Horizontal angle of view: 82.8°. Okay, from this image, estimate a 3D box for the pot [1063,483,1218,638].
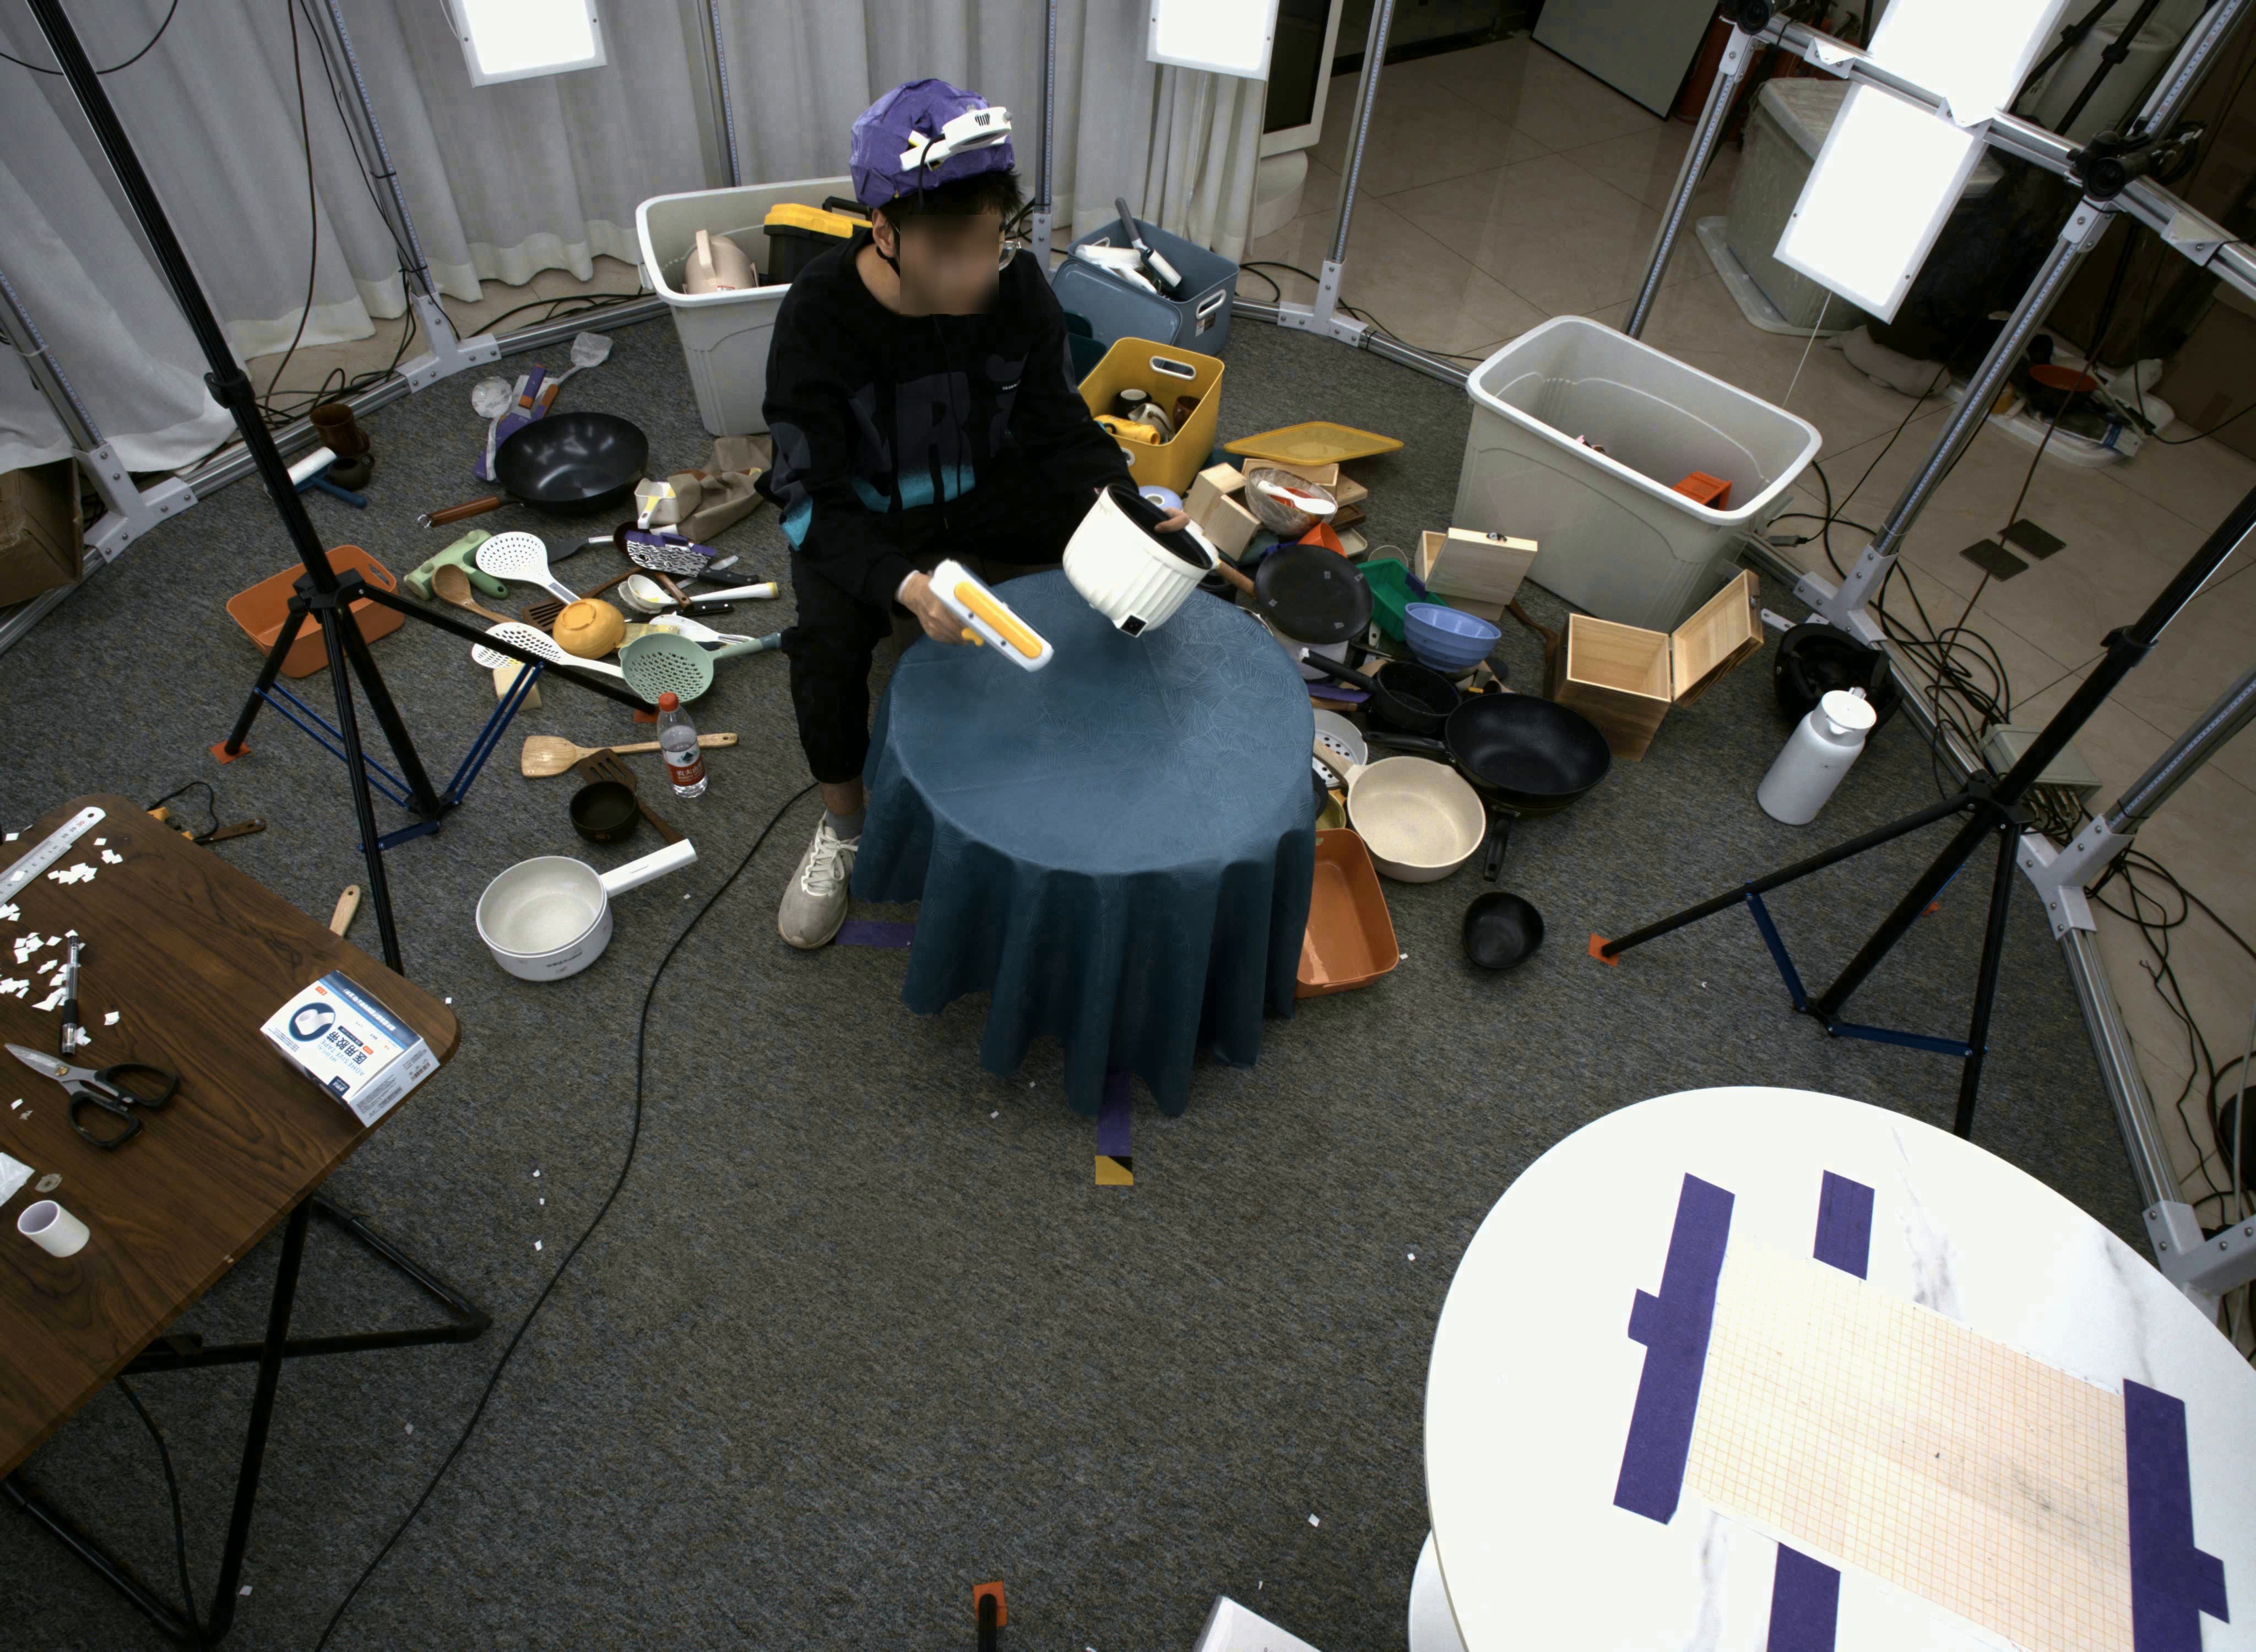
[{"bbox_3d":[0.003,-0.370,1.792,0.237,0.141,0.195,20,31,-41],"label":"pot"}]

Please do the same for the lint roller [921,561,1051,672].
[{"bbox_3d":[-0.208,-0.281,1.745,0.190,0.074,0.194,32,0,-23],"label":"lint roller"}]
